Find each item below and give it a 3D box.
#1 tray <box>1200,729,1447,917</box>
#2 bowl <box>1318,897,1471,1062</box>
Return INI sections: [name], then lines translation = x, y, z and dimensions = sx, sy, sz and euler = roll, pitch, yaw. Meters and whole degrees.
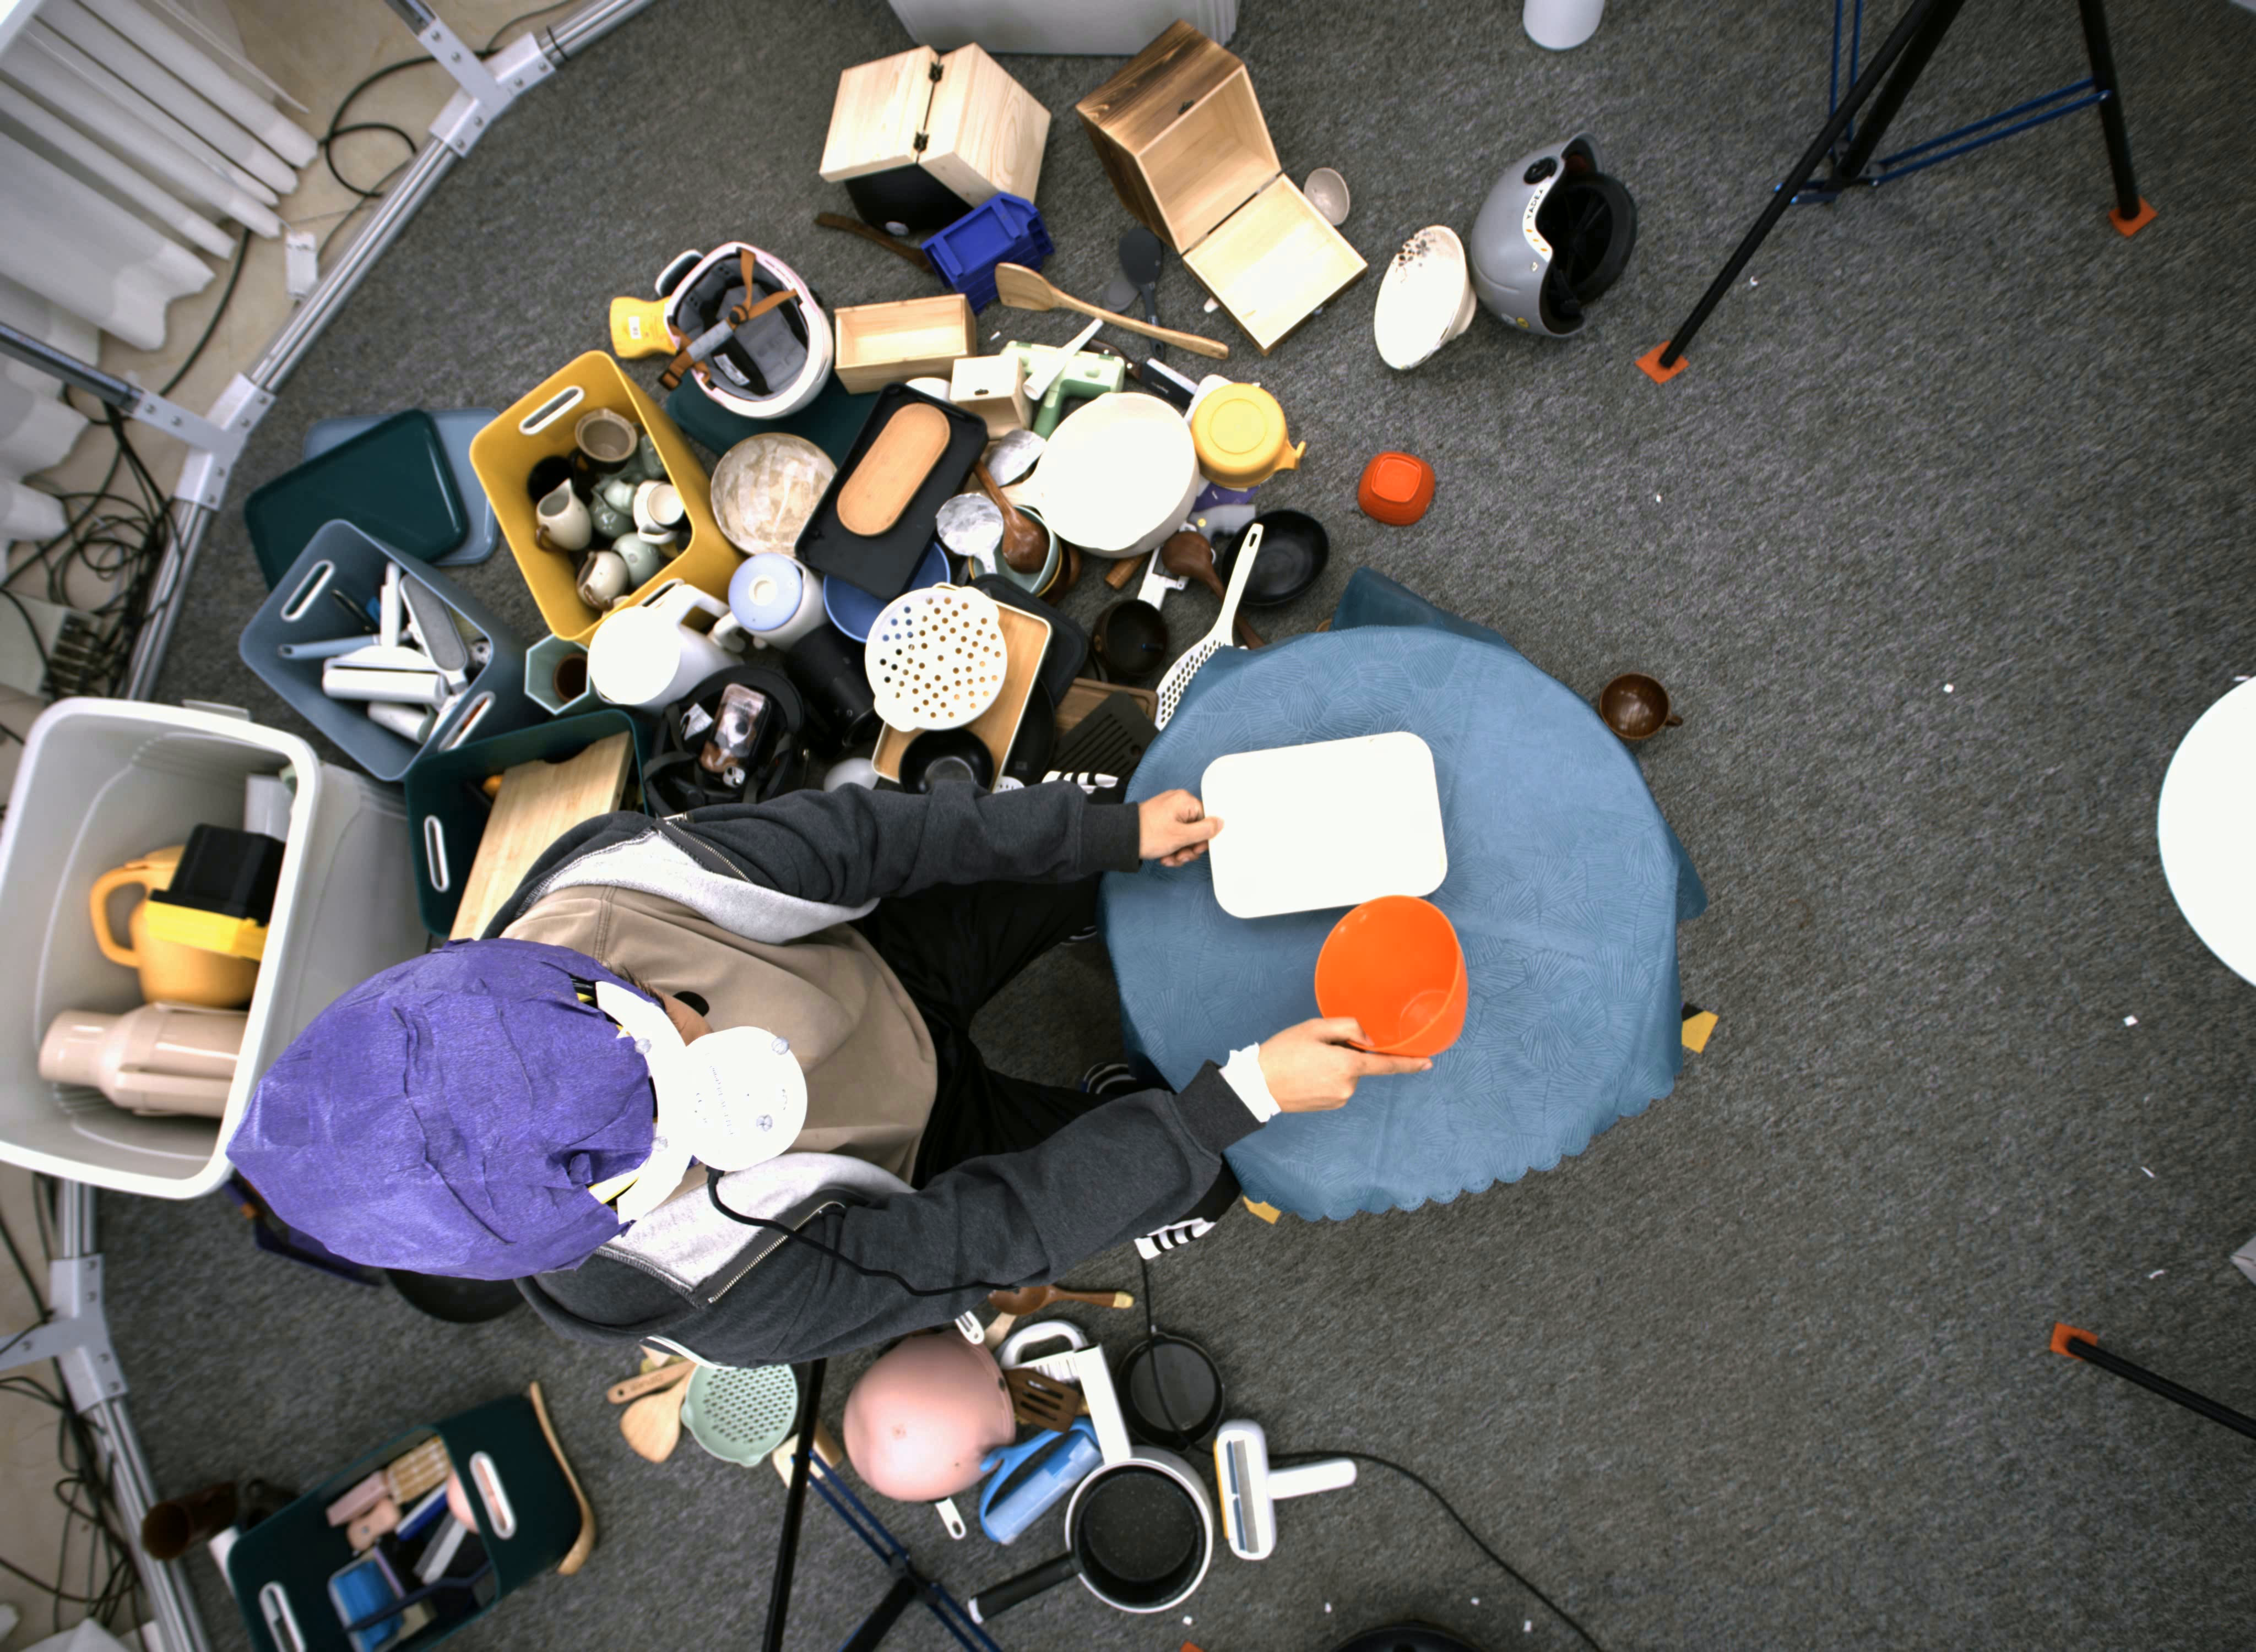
[tray]
translation = 0.200, -0.003, 1.423
dimensions = 0.240, 0.017, 0.171
euler = -8, 88, 8
[bowl]
translation = 0.264, 0.154, 1.294
dimensions = 0.150, 0.106, 0.144
euler = -26, 44, 27
